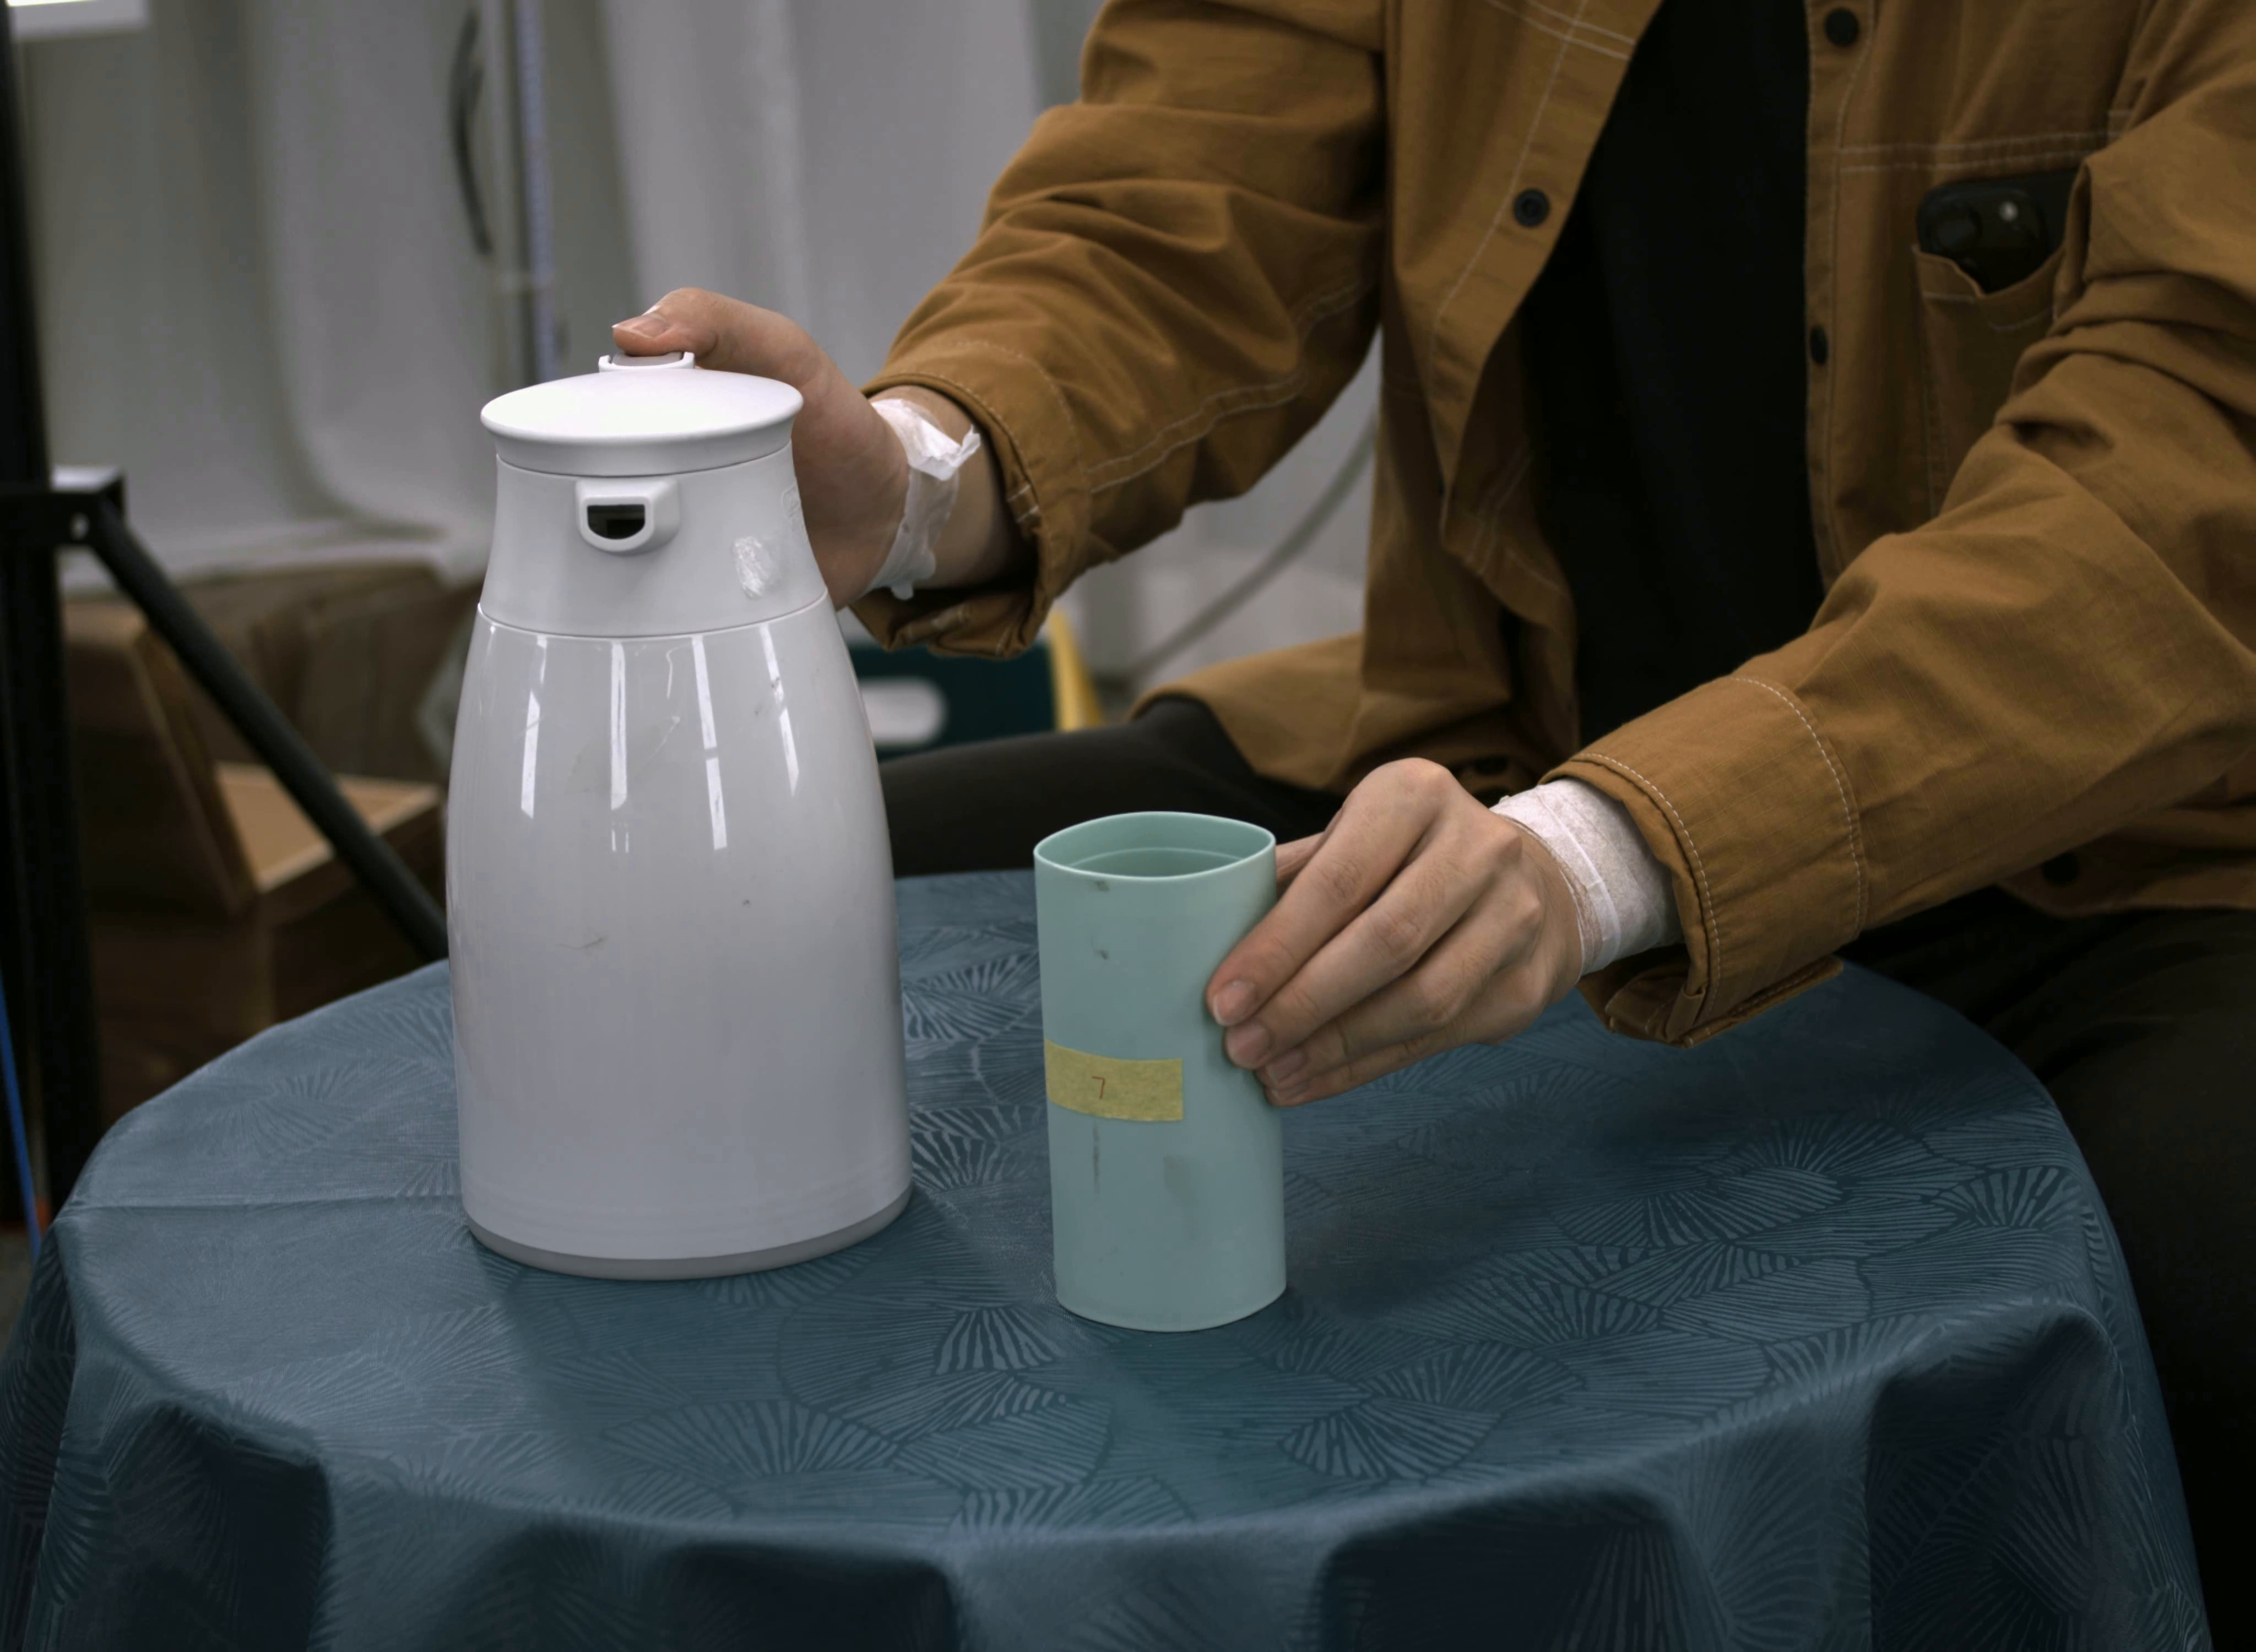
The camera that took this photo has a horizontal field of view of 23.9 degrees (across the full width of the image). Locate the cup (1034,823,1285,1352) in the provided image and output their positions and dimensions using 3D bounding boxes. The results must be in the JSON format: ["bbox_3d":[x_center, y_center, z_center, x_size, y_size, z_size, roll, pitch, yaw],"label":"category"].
[{"bbox_3d":[0.011,0.071,1.458,0.066,0.132,0.067,-2,16,-1],"label":"cup"}]

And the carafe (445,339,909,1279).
[{"bbox_3d":[-0.134,-0.013,1.553,0.132,0.248,0.168,-2,15,3],"label":"carafe"}]
